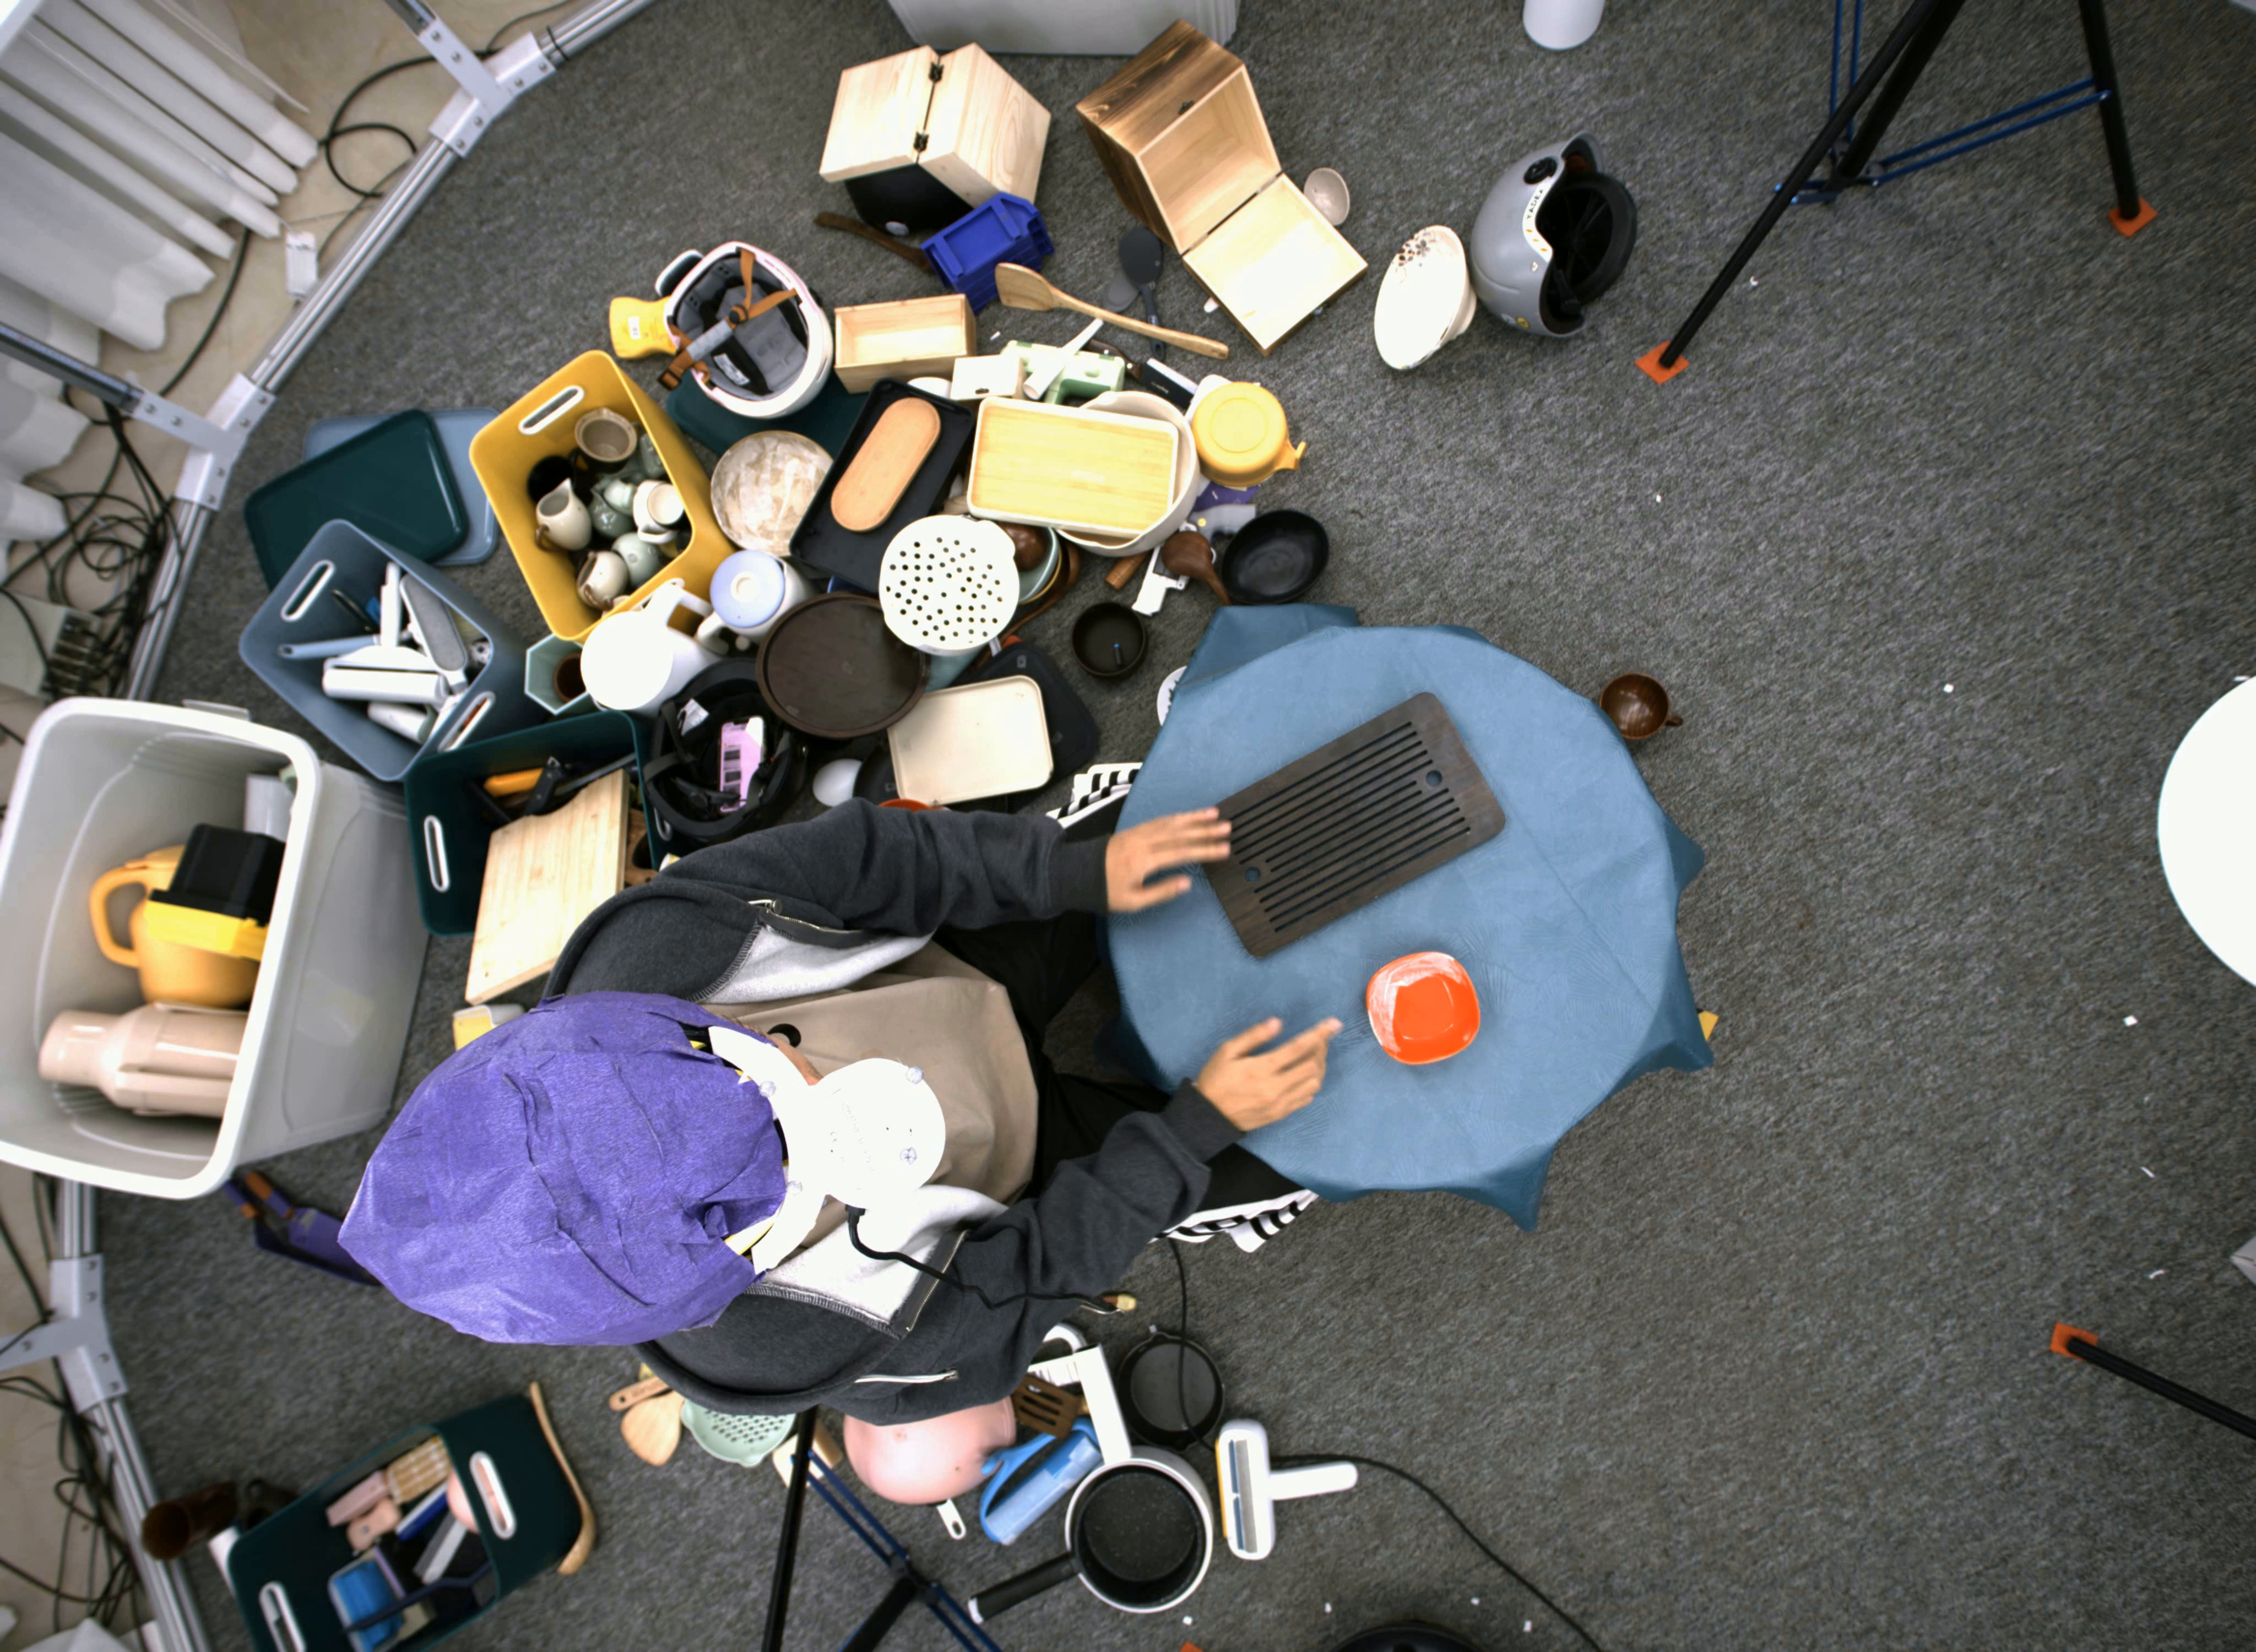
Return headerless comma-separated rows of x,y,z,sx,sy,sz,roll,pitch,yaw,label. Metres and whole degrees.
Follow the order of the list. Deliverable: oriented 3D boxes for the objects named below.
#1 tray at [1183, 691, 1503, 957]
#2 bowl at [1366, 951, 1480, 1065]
0.225,-0.003,1.462,0.308,0.018,0.169,-29,82,8,tray
0.302,0.185,1.419,0.119,0.051,0.118,-1,87,8,bowl
